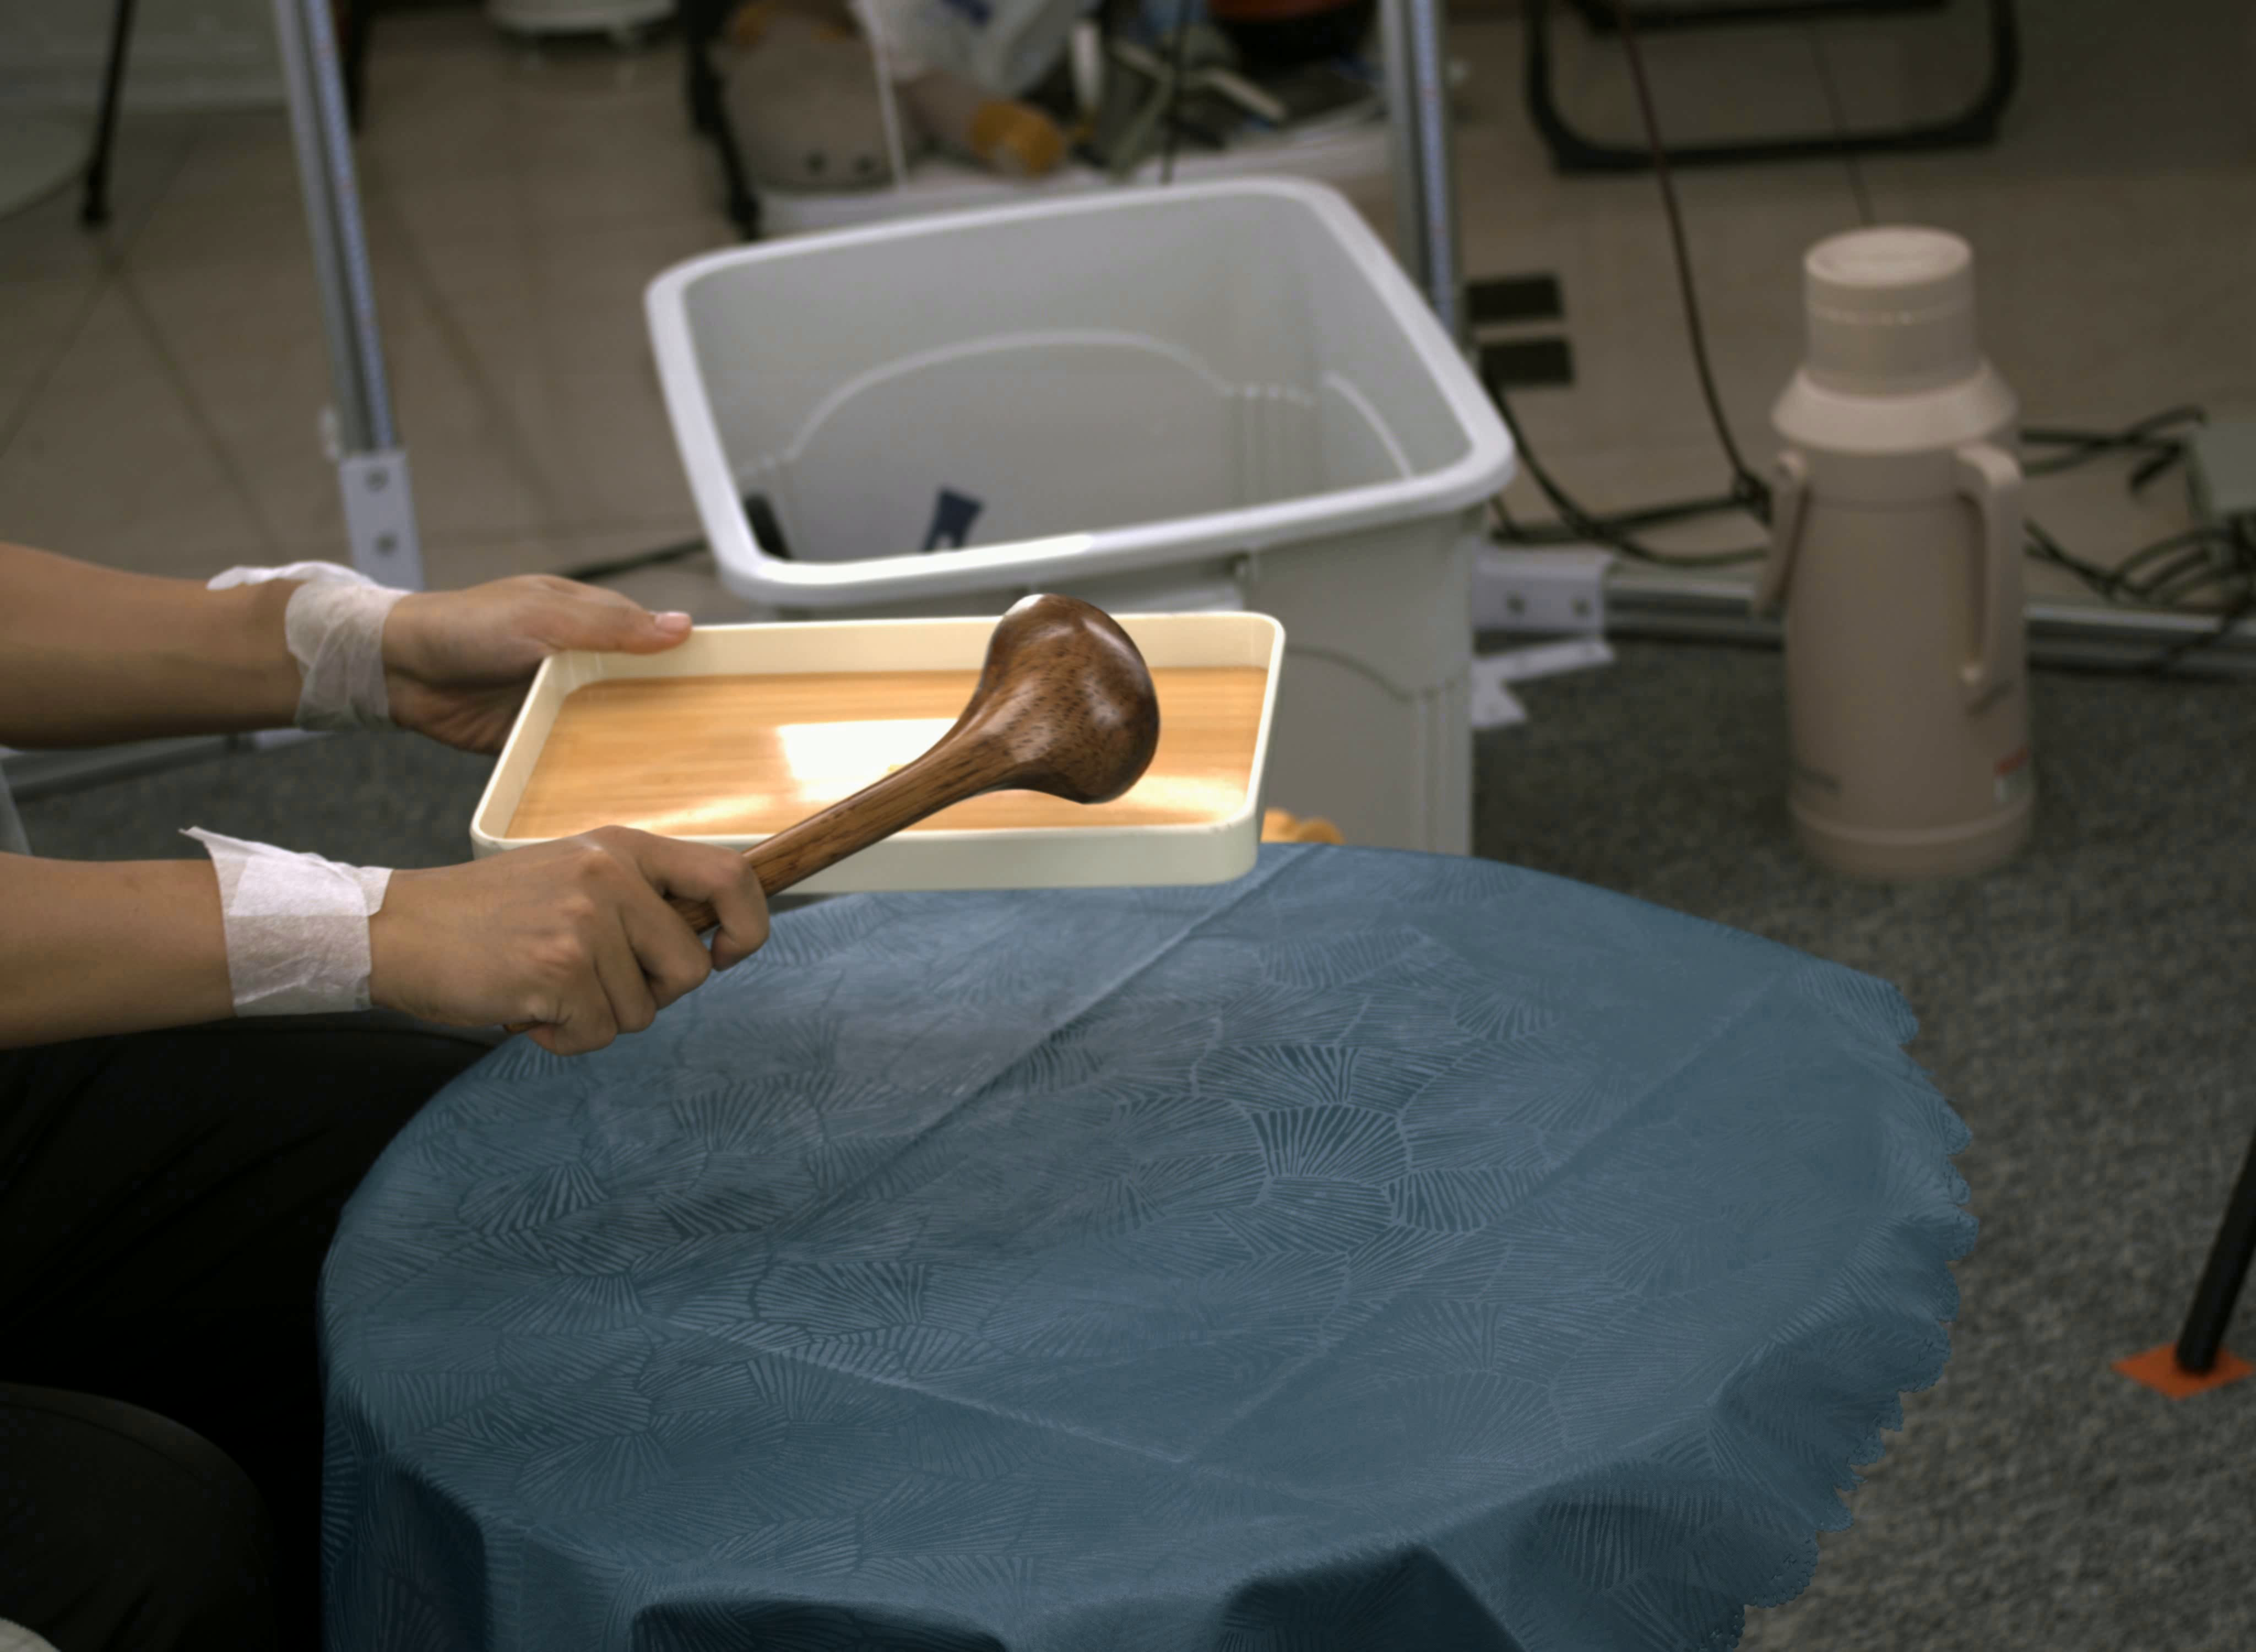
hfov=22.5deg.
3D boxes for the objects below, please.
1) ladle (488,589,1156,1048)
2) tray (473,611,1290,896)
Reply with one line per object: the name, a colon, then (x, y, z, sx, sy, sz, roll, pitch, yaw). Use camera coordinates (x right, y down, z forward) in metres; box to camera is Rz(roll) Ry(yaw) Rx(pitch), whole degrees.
ladle: (-0.113, 0.002, 2.062, 0.273, 0.082, 0.076, -30, 2, -6)
tray: (-0.092, -0.029, 2.200, 0.300, 0.028, 0.188, -1, 28, 7)
